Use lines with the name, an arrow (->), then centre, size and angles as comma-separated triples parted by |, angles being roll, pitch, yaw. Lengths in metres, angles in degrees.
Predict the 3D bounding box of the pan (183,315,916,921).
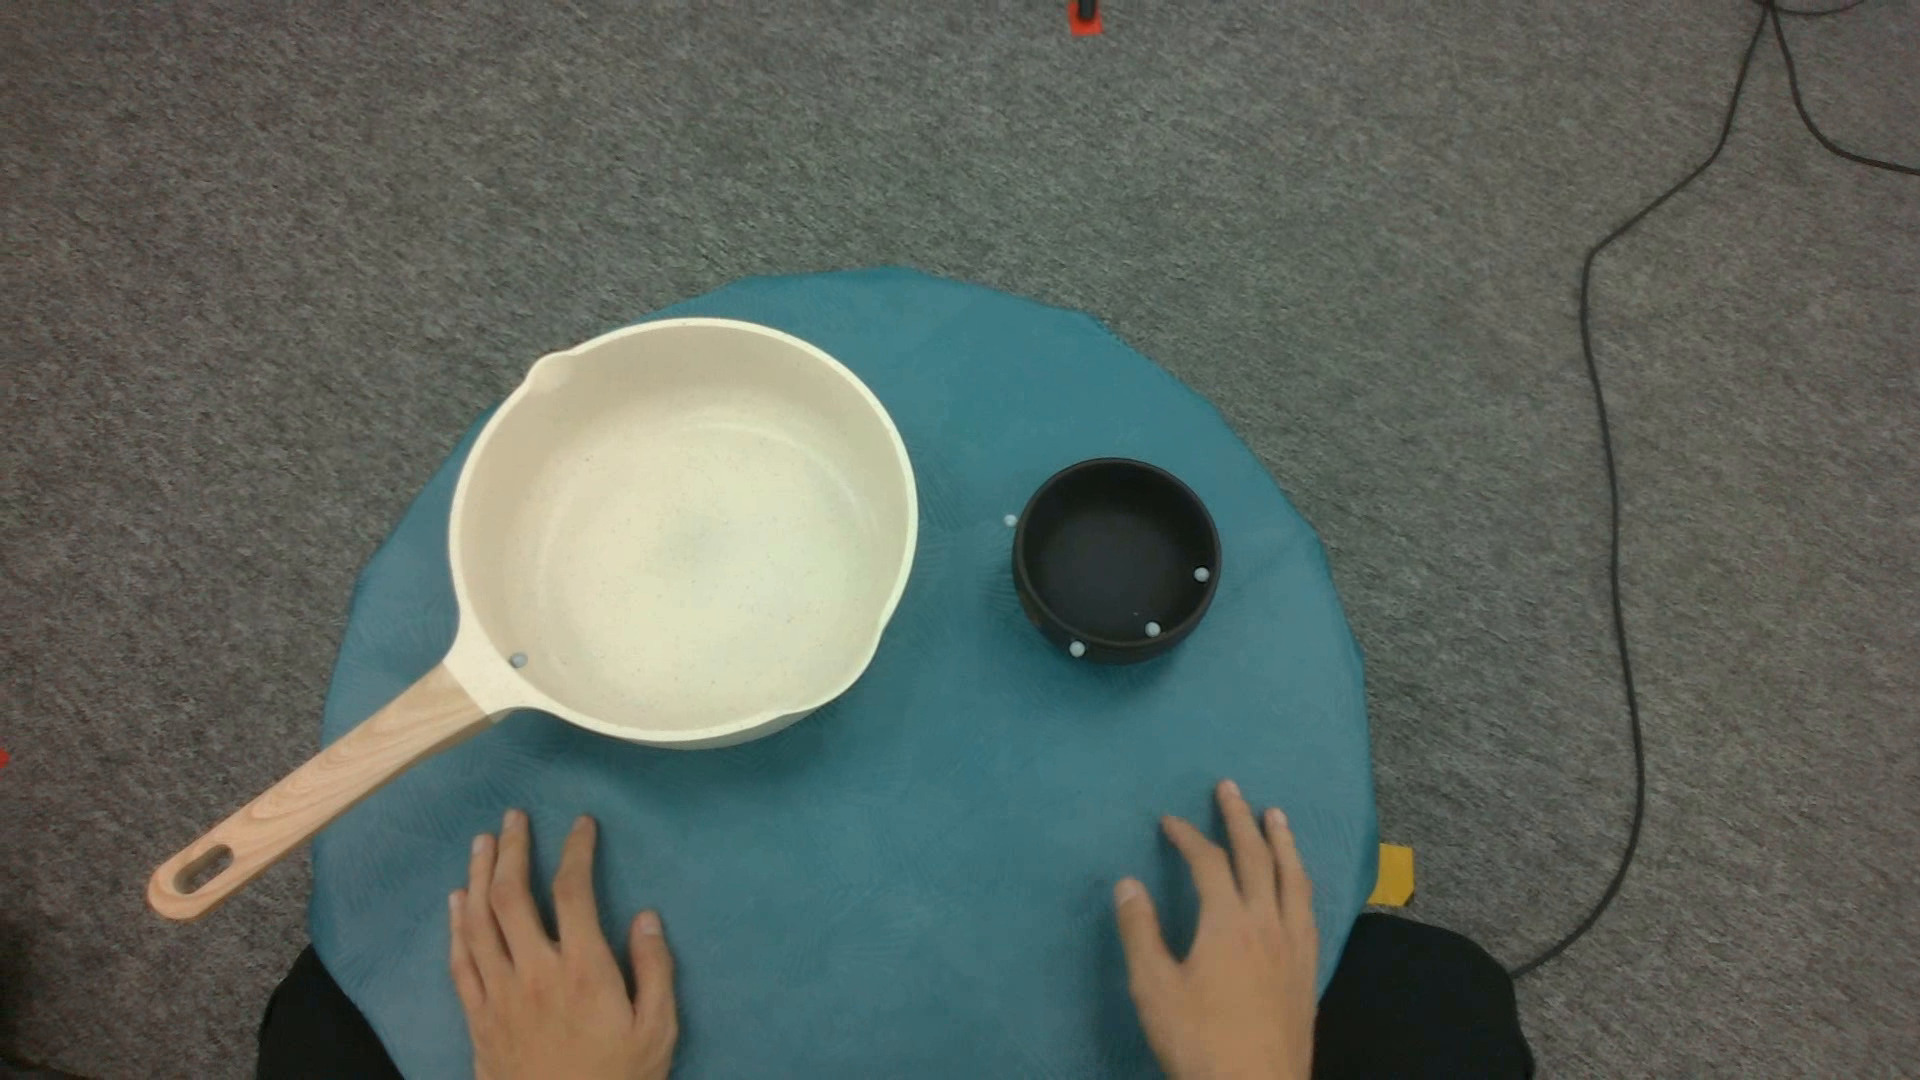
pan -> -0.217, 0.054, 0.768 | 0.436, 0.101, 0.263 | -41, 75, -16

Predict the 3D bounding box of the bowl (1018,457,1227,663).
bowl -> 0.092, 0.017, 0.804 | 0.118, 0.069, 0.118 | 1, 66, -2
